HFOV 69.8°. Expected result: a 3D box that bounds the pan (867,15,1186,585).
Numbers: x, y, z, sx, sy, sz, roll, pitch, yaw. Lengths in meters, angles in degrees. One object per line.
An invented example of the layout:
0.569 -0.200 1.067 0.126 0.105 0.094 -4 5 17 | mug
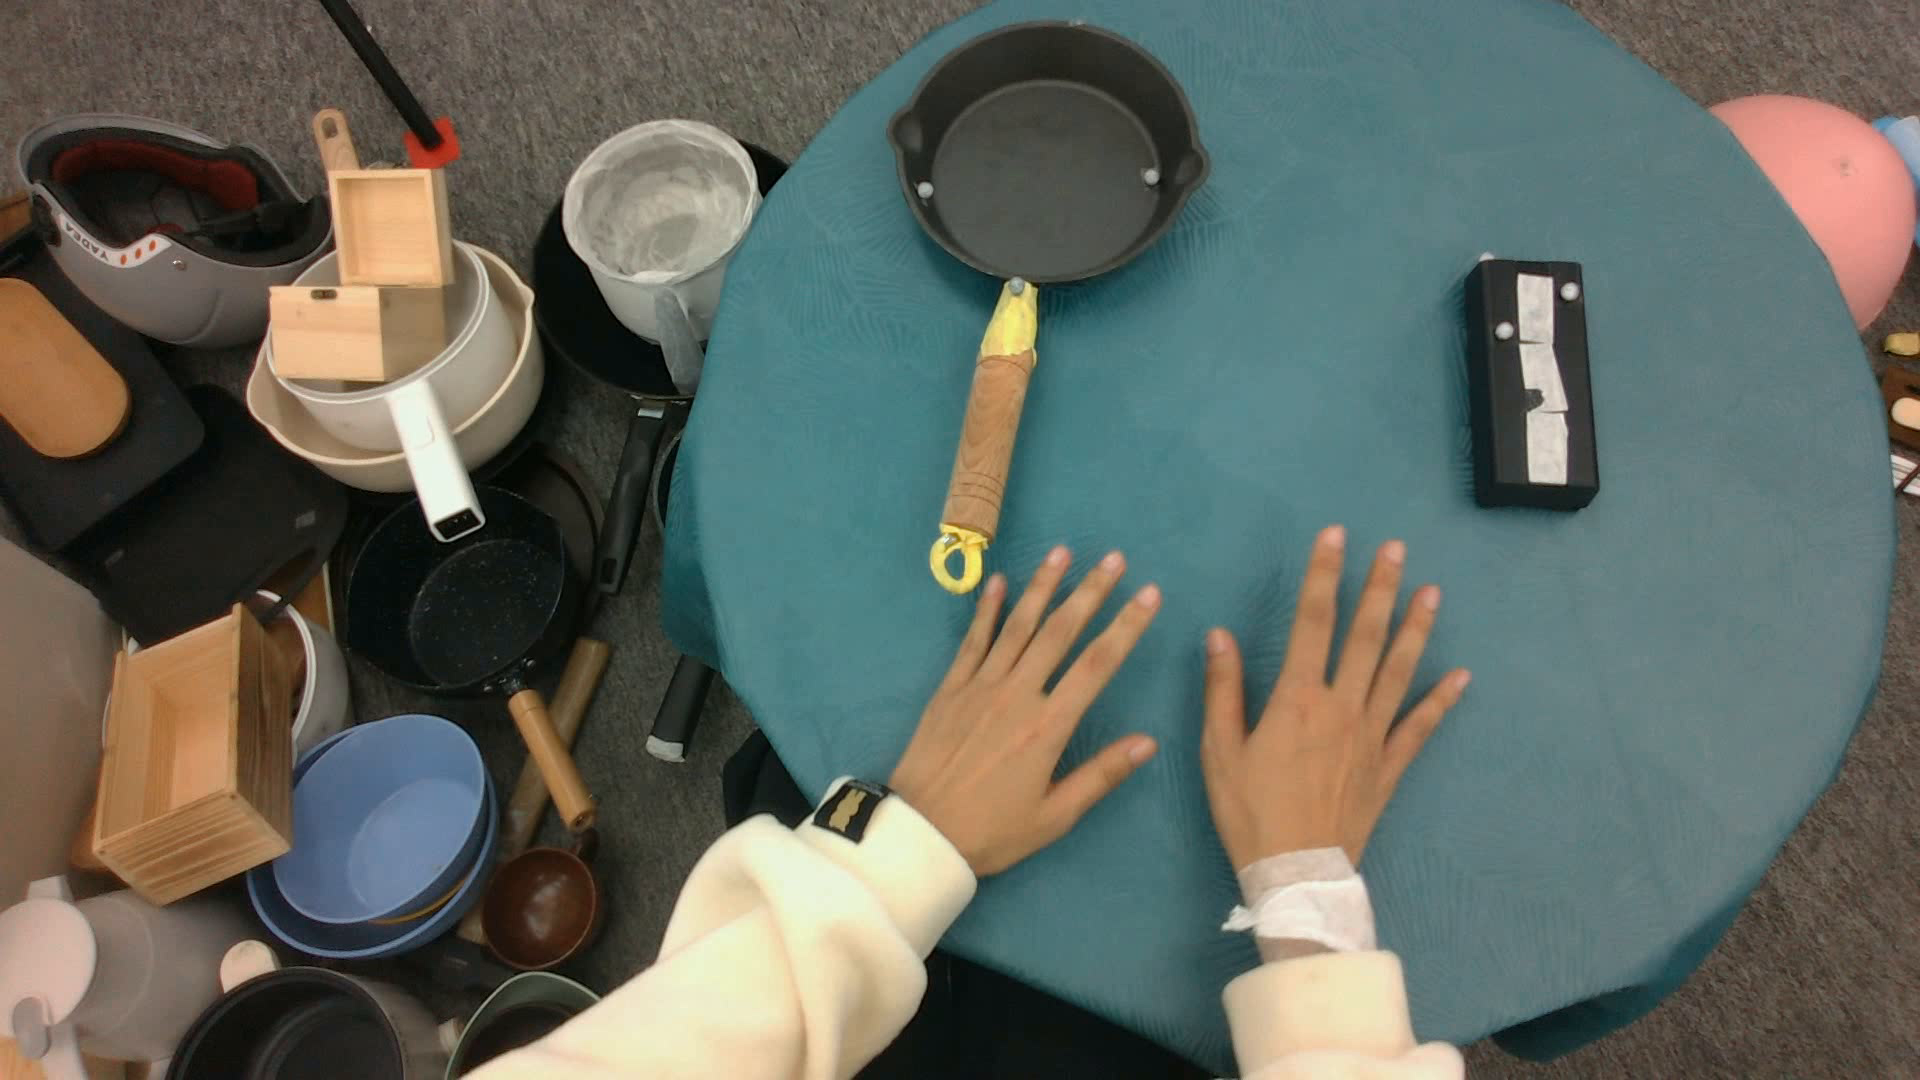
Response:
0.017 -0.128 0.698 0.169 0.049 0.325 11 71 4 | pan

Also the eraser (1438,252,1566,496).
0.270 -0.084 0.690 0.053 0.030 0.126 3 72 3 | eraser
